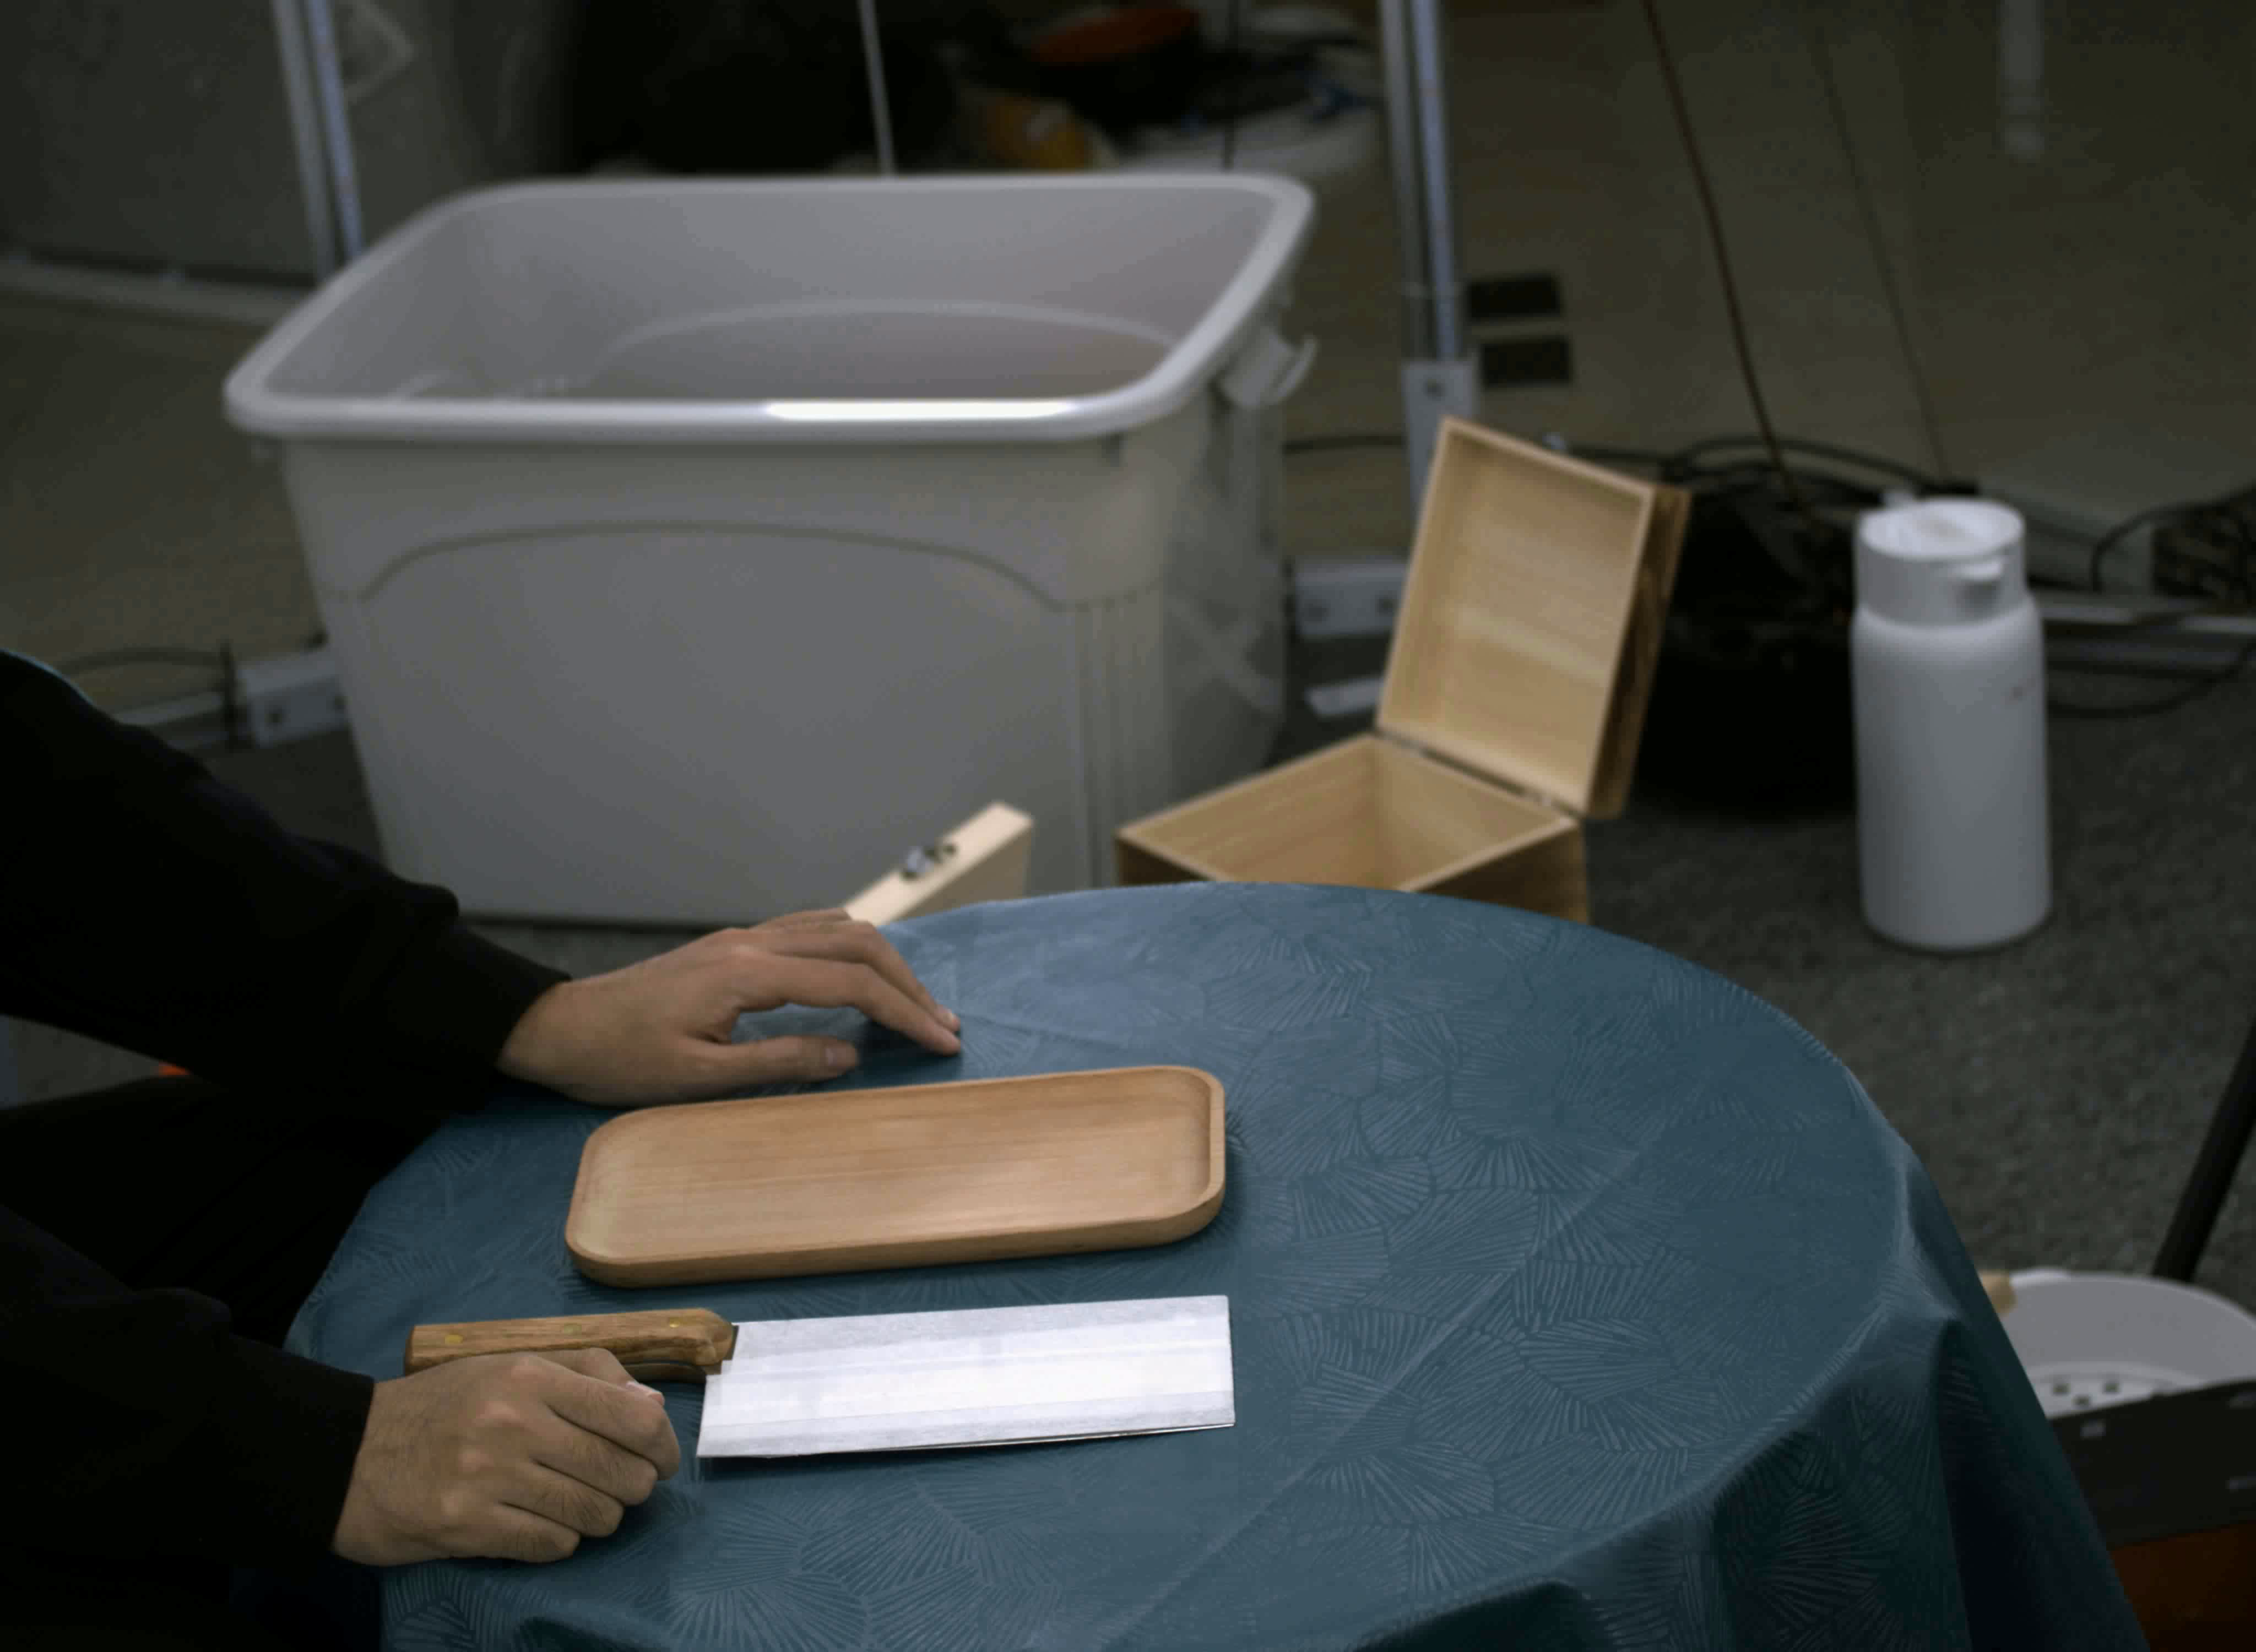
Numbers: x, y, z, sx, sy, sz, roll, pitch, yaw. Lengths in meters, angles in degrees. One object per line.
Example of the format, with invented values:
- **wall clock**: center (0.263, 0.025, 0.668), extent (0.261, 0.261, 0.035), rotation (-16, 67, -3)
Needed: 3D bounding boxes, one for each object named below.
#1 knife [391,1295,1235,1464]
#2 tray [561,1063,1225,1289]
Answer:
- **knife**: center (-0.115, 0.199, 2.029), extent (0.305, 0.021, 0.091), rotation (-4, 27, 1)
- **tray**: center (-0.088, 0.134, 2.162), extent (0.250, 0.023, 0.129), rotation (-5, 23, 5)
